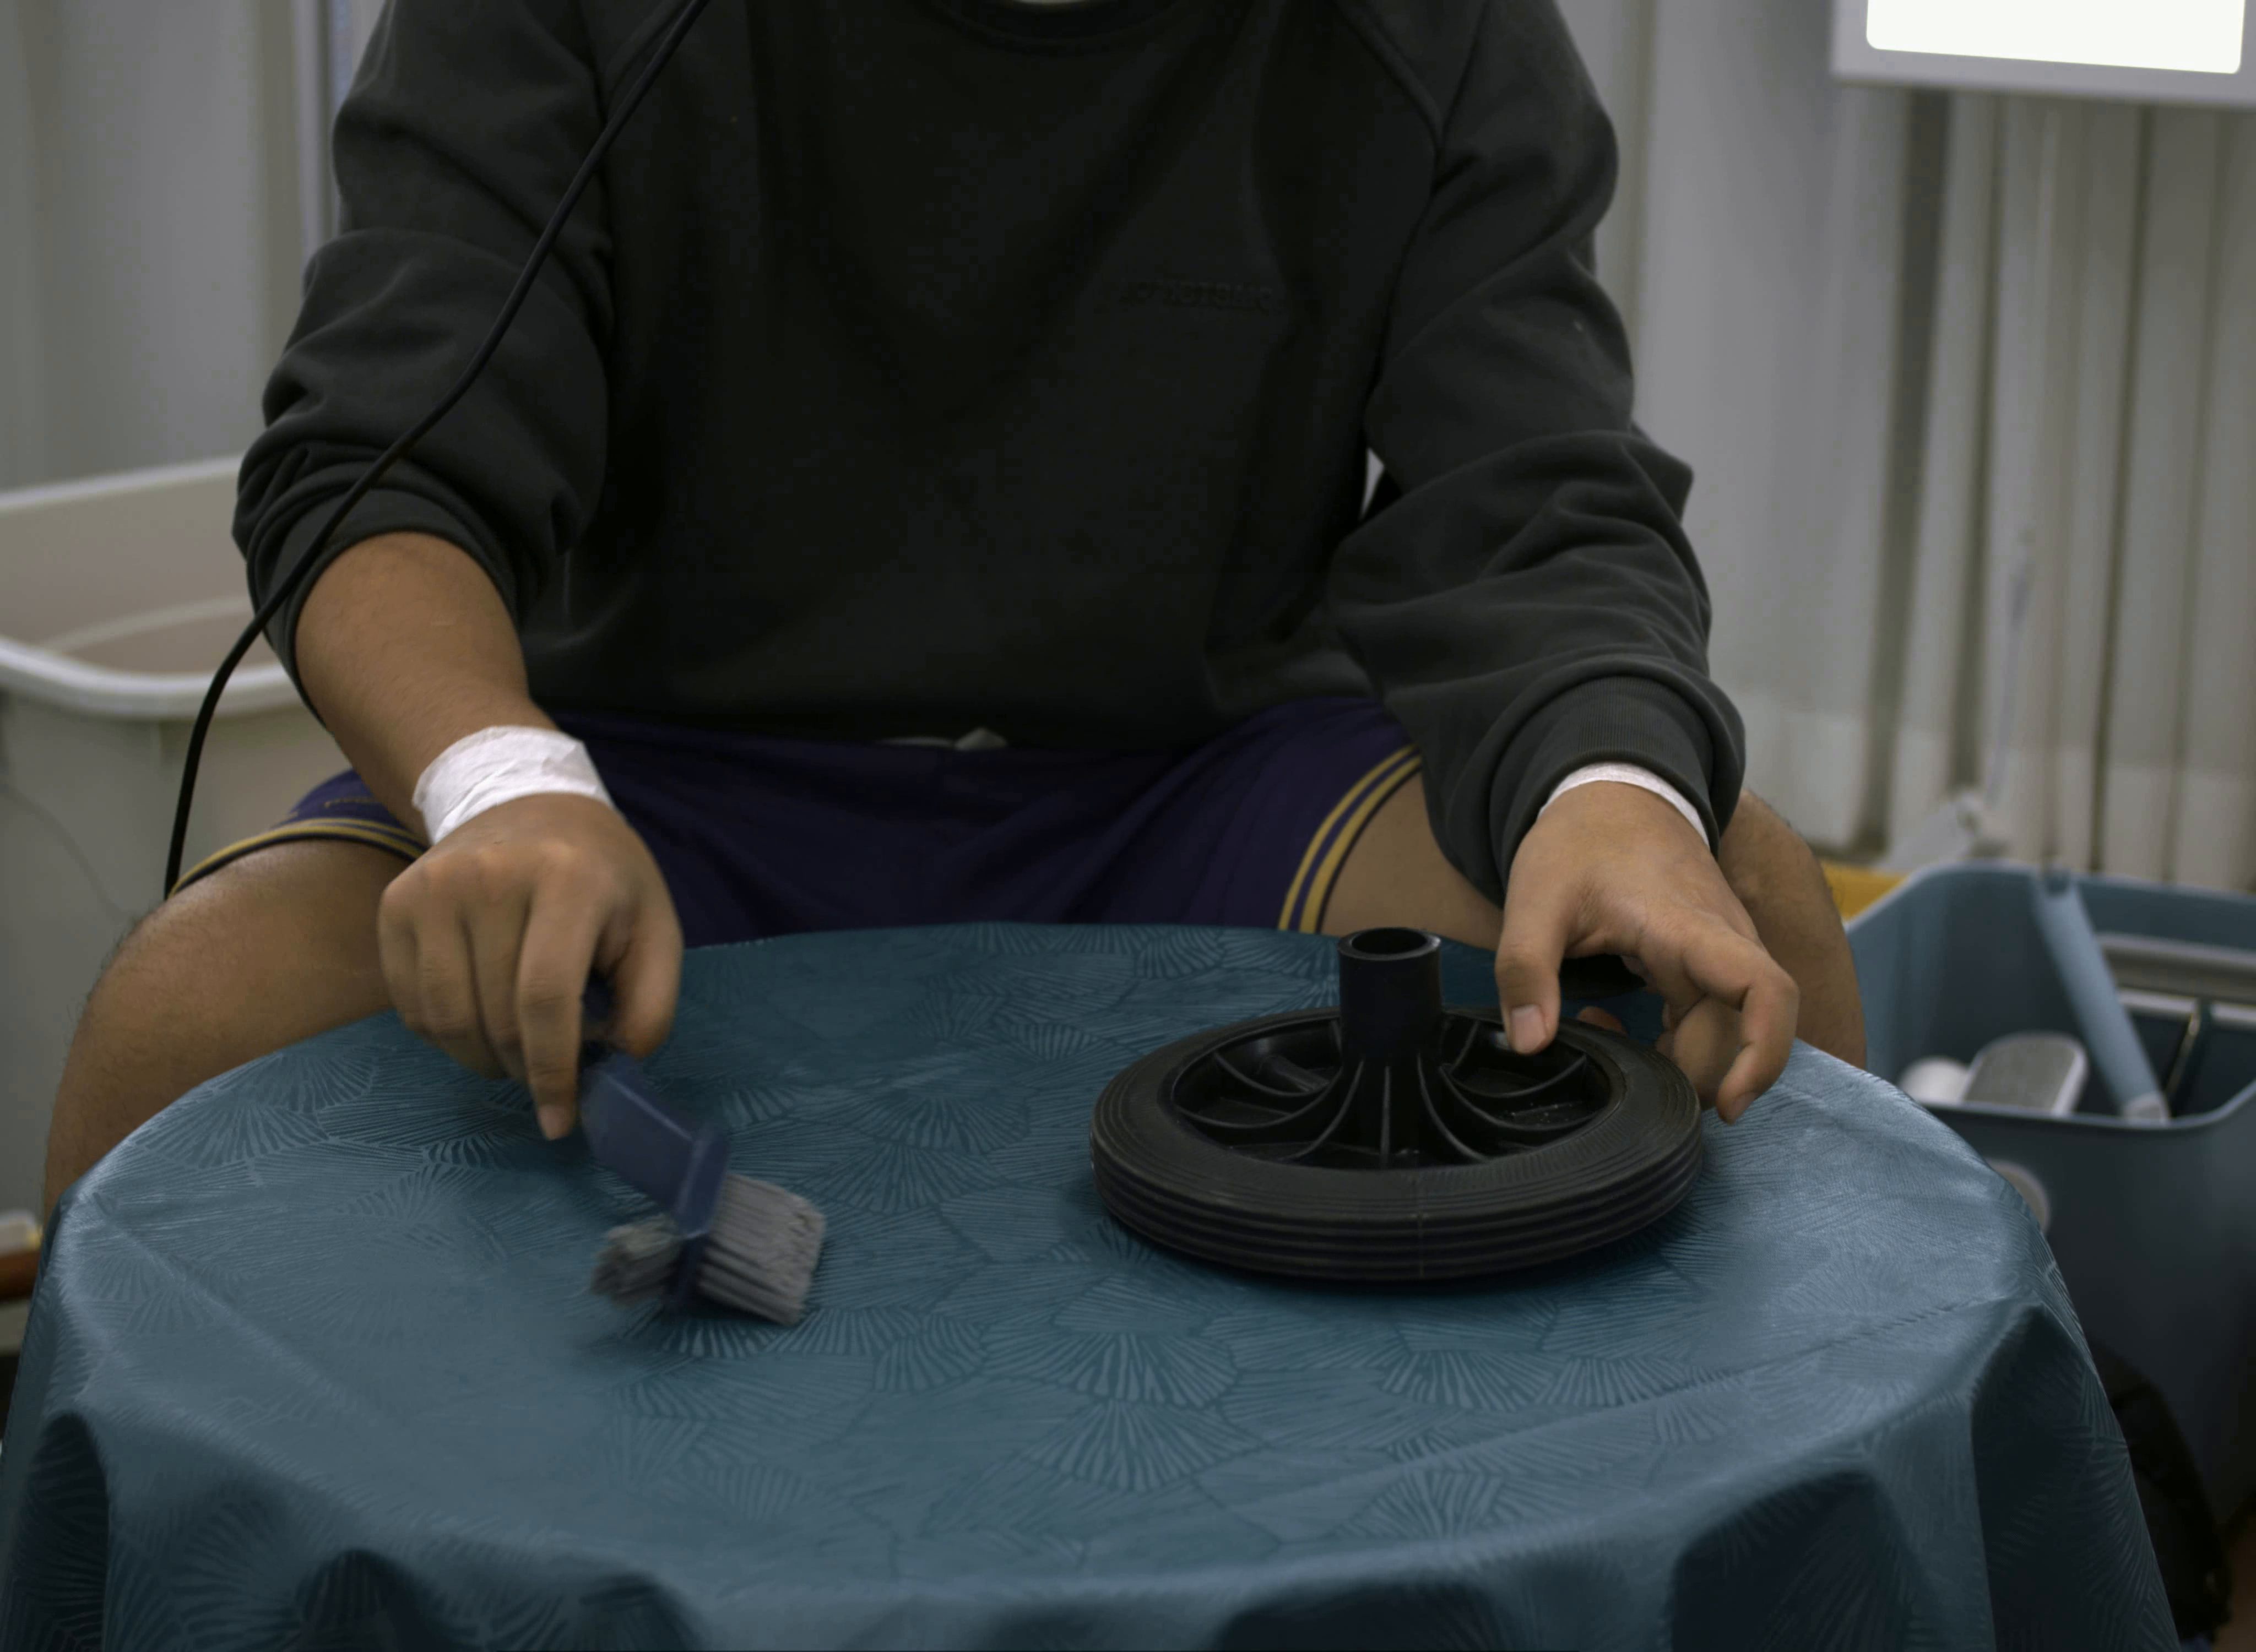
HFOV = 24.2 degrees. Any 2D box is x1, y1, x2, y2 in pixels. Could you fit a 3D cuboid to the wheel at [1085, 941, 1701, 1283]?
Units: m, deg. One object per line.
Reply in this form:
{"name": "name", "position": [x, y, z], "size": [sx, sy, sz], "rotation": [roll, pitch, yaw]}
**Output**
{"name": "wheel", "position": [0.080, 0.077, 1.609], "size": [0.187, 0.080, 0.188], "rotation": [8, 21, 31]}

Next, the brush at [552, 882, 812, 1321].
{"name": "brush", "position": [-0.161, 0.080, 1.611], "size": [0.096, 0.034, 0.270], "rotation": [11, 18, -27]}
